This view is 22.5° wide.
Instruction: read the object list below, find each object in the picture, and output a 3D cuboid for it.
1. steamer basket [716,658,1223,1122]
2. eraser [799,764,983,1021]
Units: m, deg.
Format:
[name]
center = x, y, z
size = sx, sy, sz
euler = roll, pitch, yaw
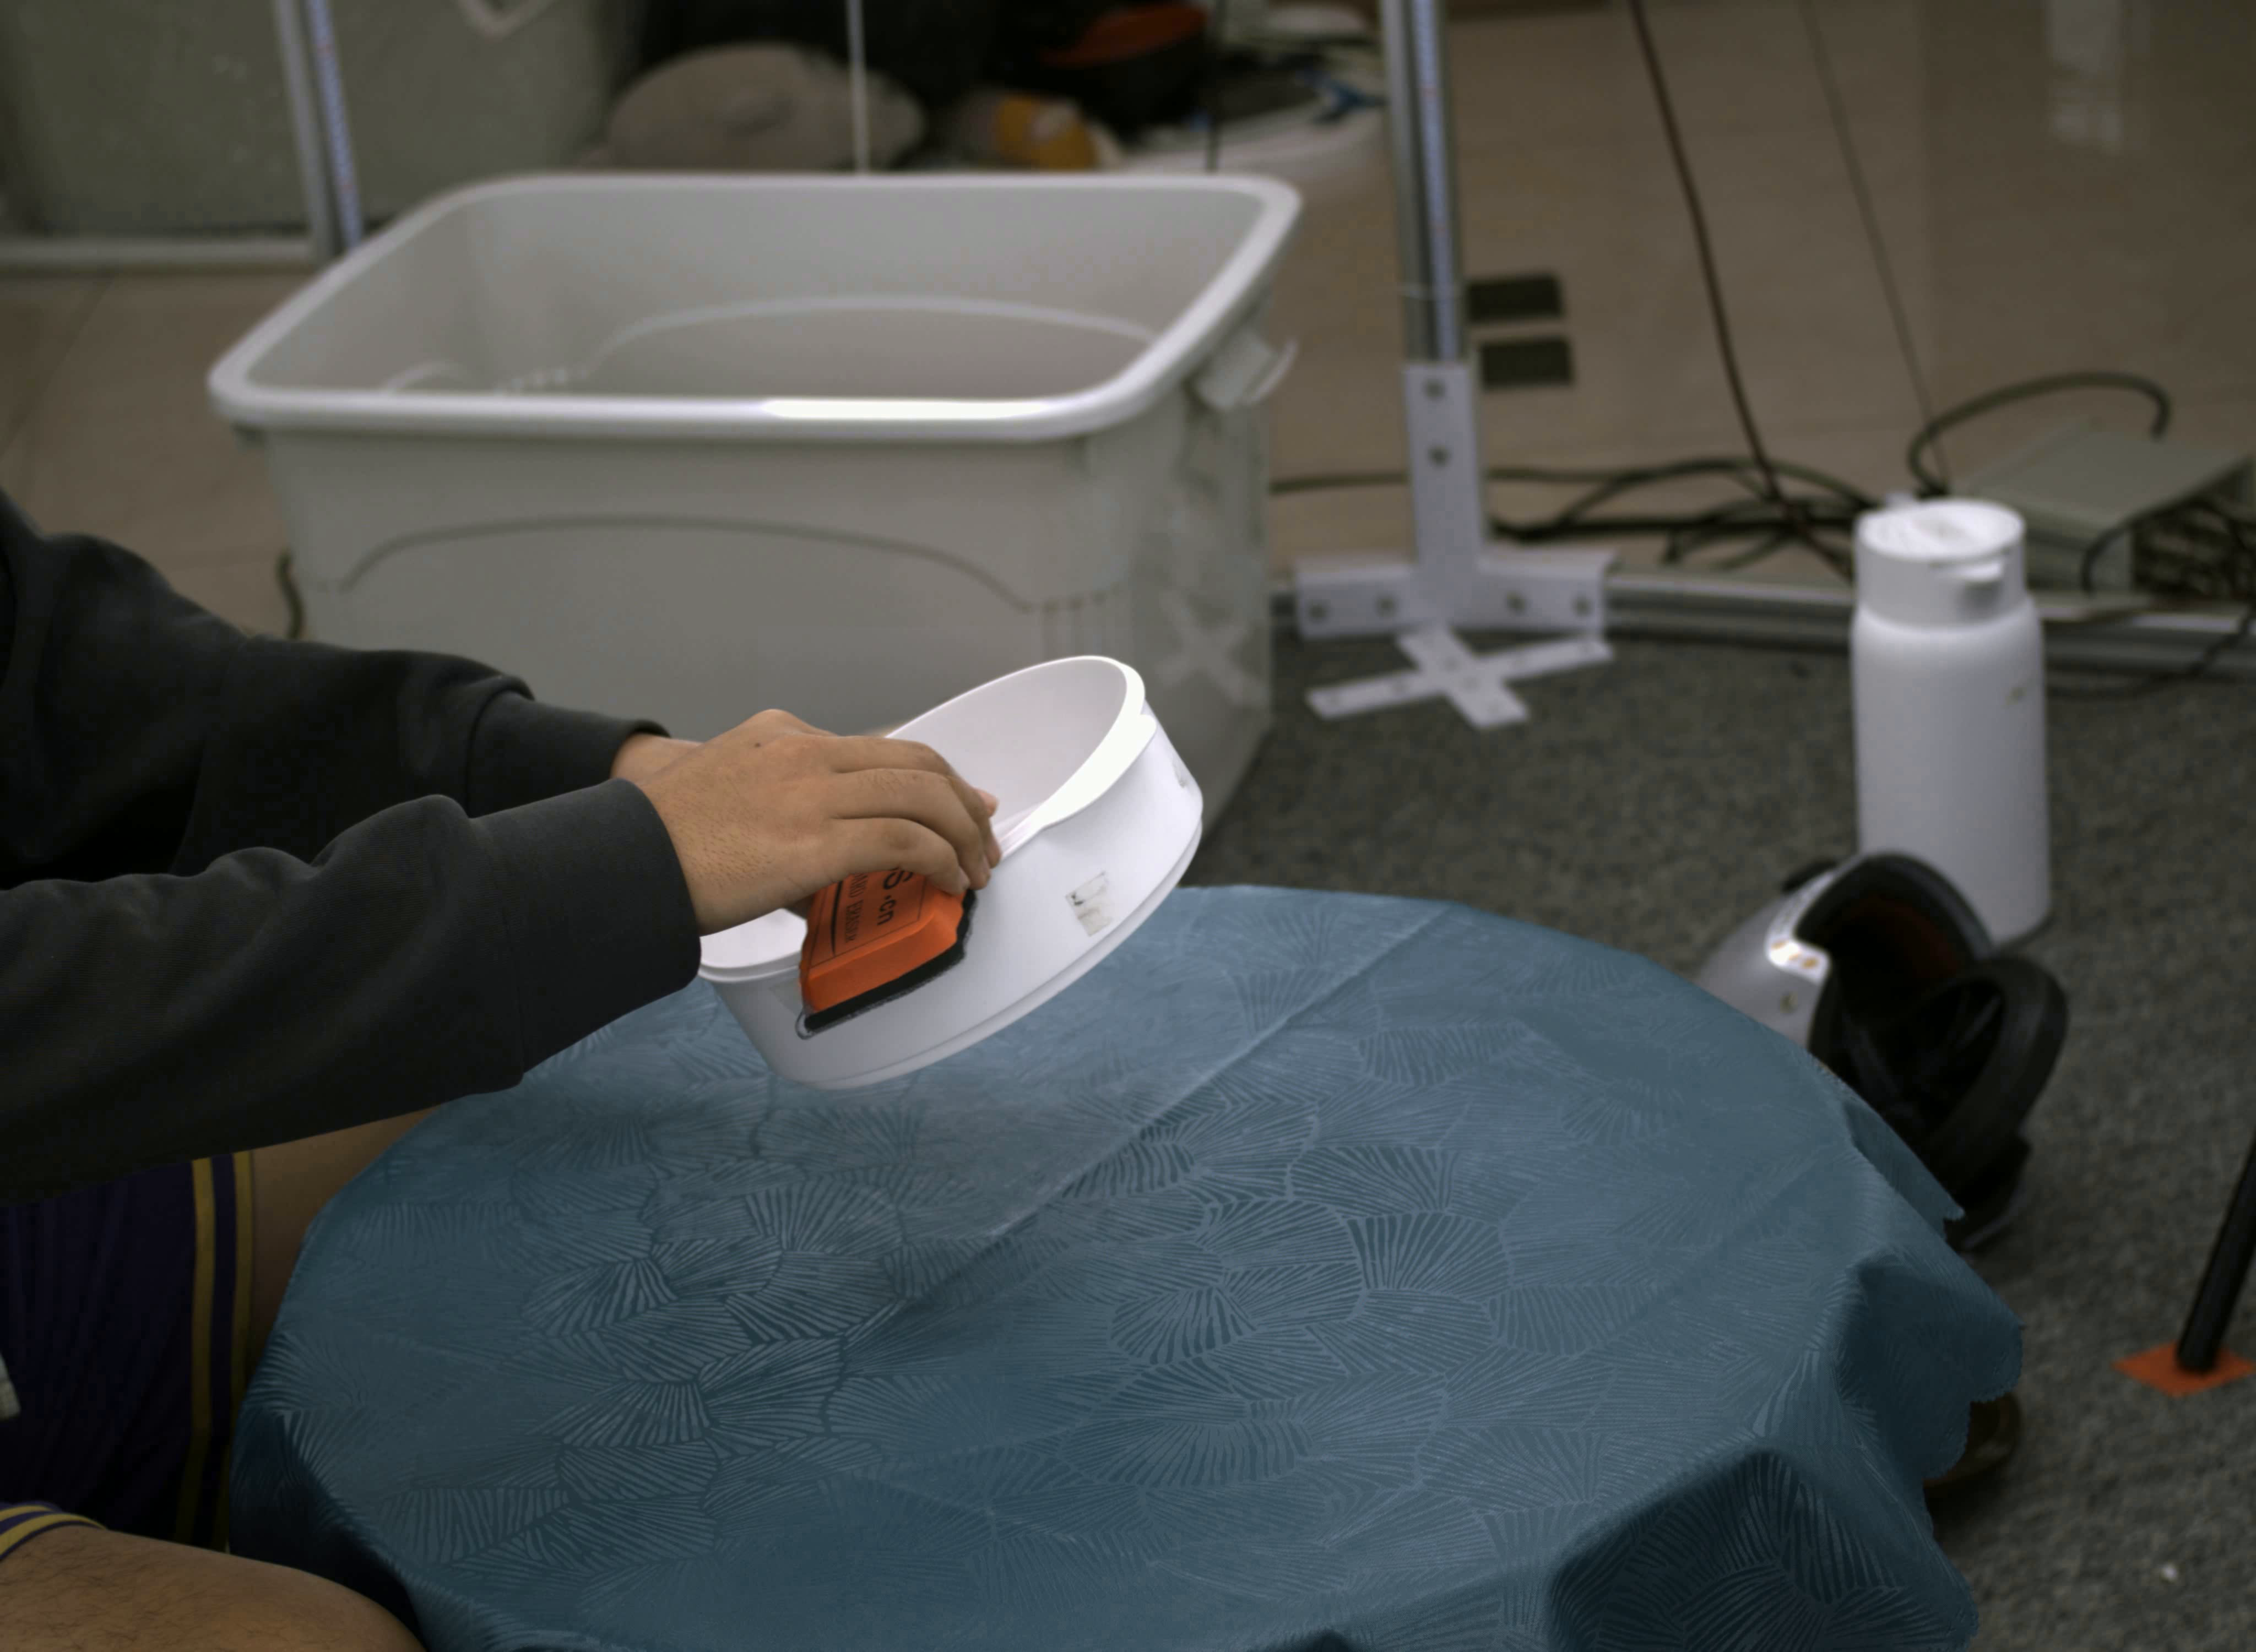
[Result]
[steamer basket]
center = -0.056, 0.025, 2.124
size = 0.231, 0.070, 0.199
euler = -19, 26, 45
[eraser]
center = -0.083, 0.022, 2.003
size = 0.059, 0.023, 0.106
euler = -29, 26, 21
